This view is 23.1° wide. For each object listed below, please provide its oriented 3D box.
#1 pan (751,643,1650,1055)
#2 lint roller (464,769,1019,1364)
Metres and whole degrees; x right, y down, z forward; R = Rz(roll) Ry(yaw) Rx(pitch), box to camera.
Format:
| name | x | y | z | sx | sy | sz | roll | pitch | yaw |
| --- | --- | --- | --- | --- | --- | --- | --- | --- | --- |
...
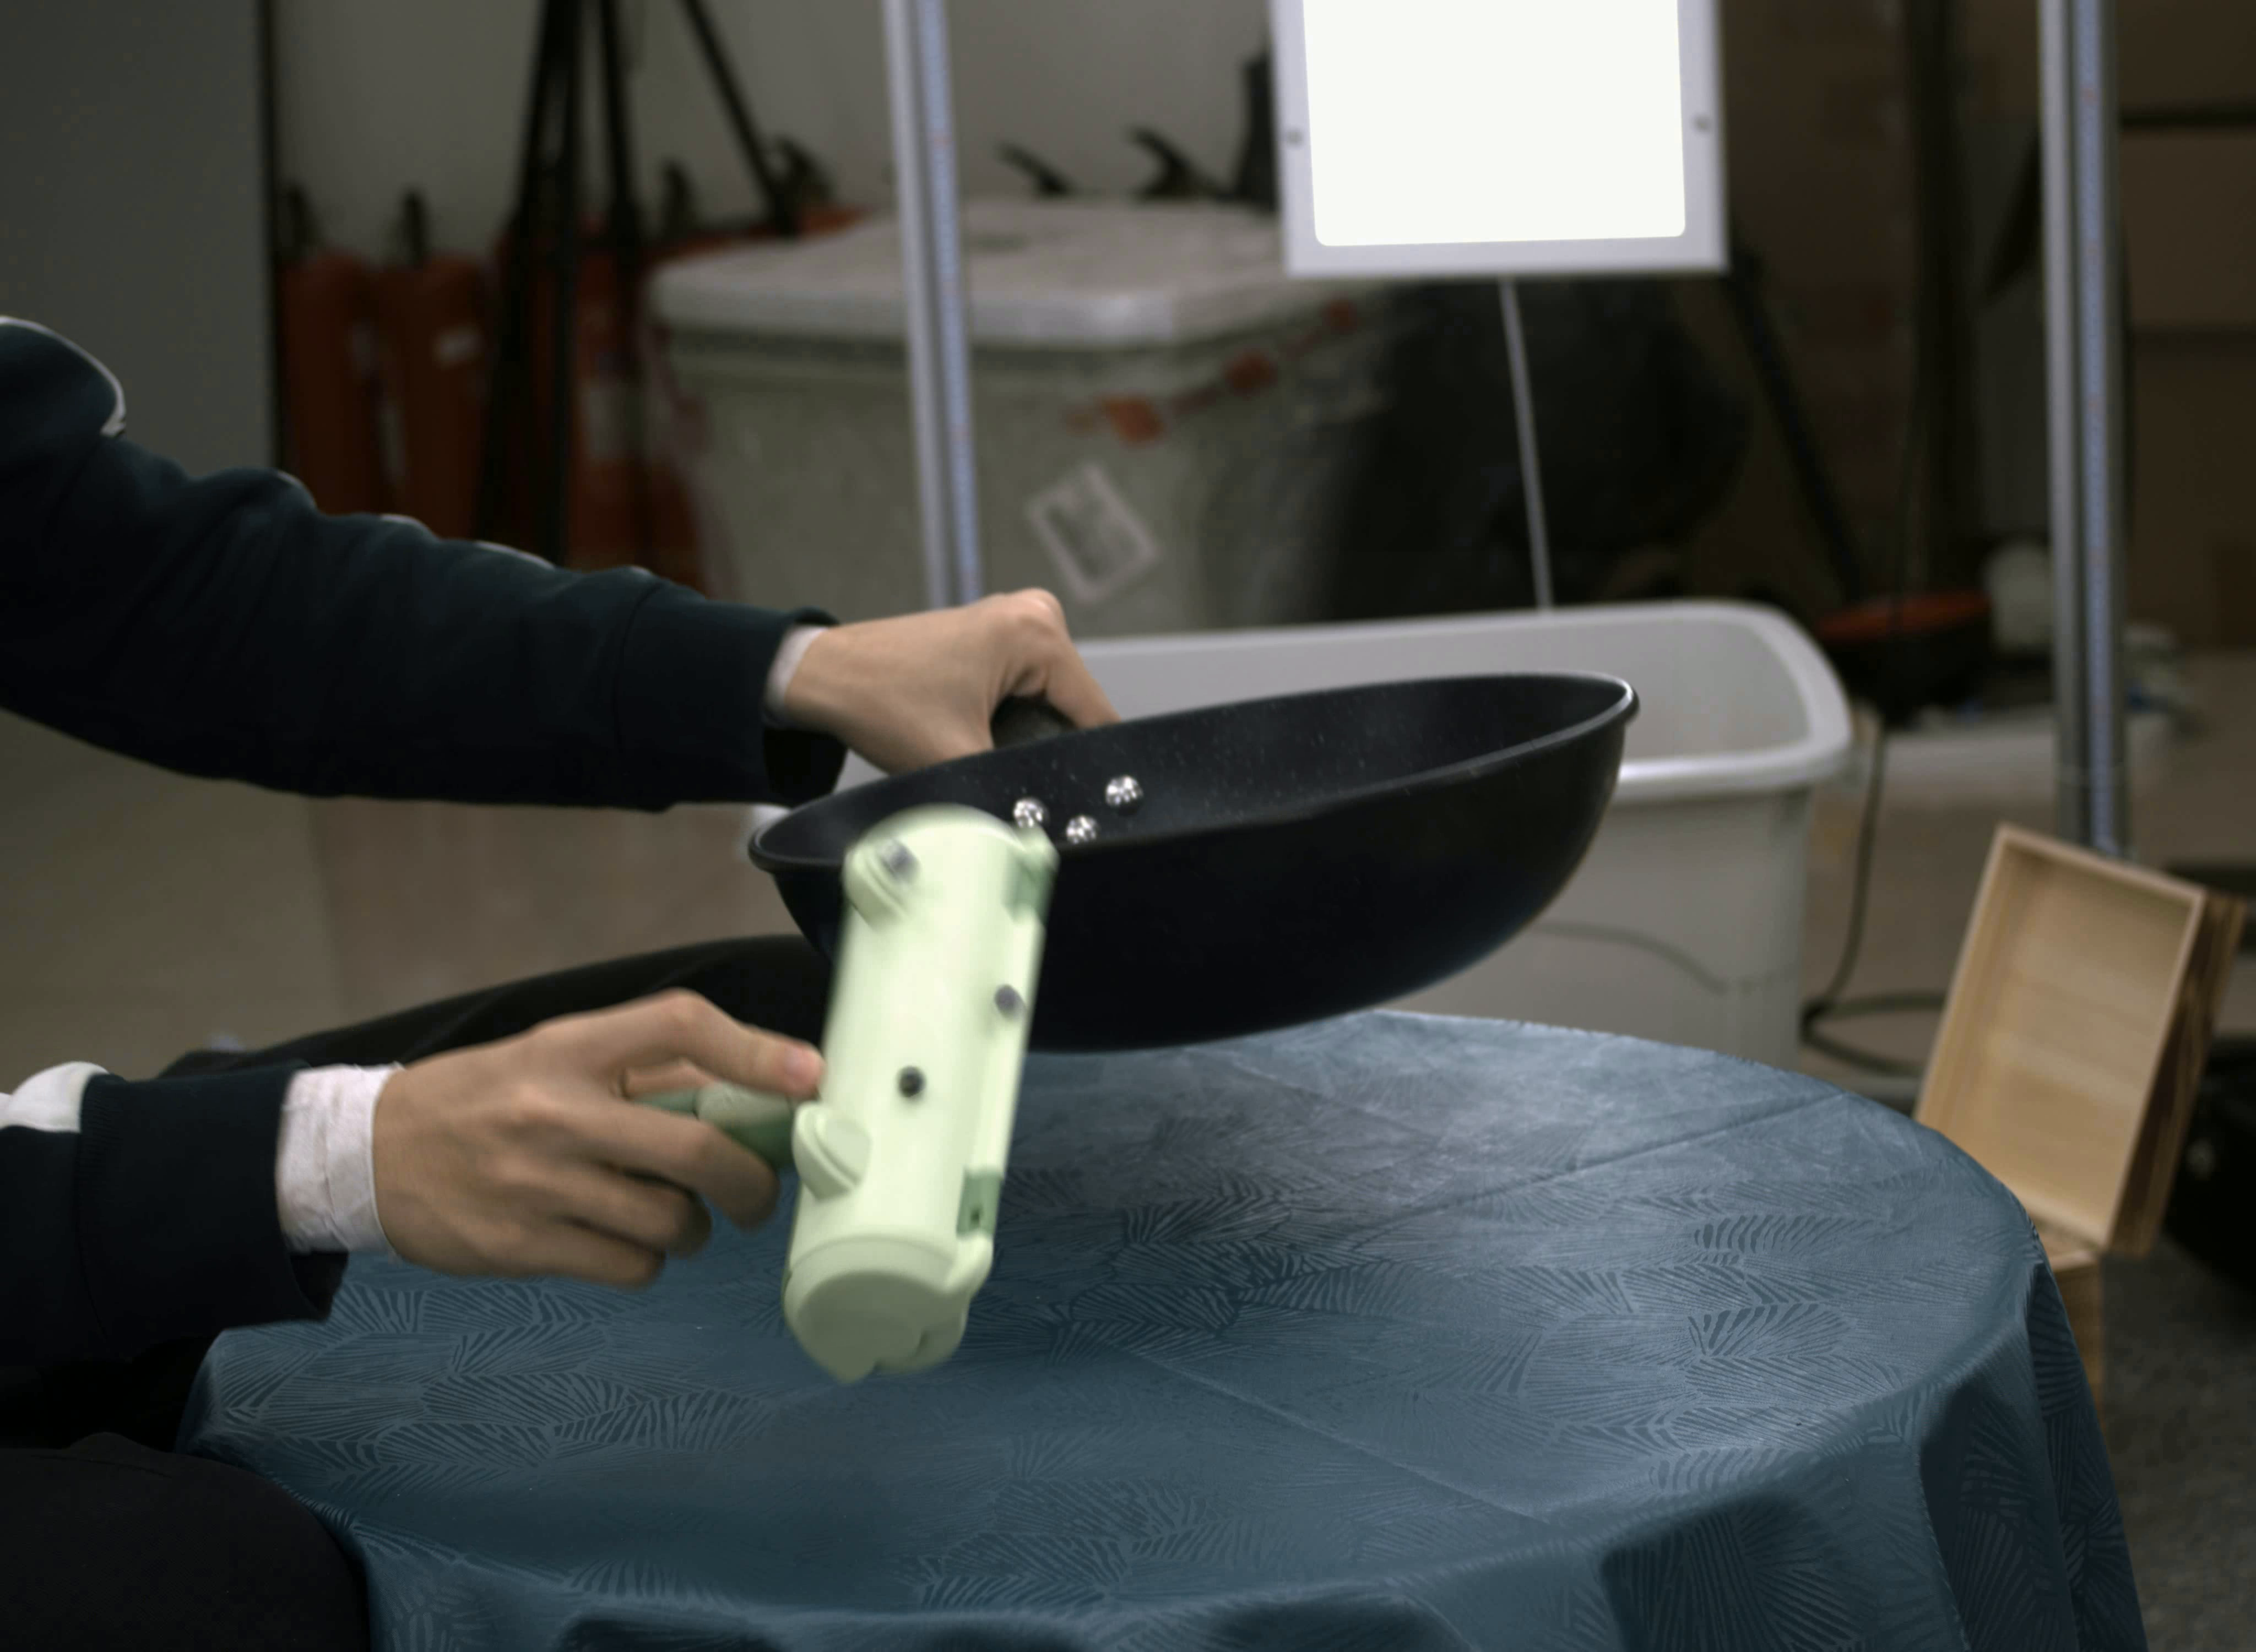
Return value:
| name | x | y | z | sx | sy | sz | roll | pitch | yaw |
| --- | --- | --- | --- | --- | --- | --- | --- | --- | --- |
| pan | 0.002 | 0.001 | 1.952 | 0.305 | 0.112 | 0.483 | -12 | 8 | -16 |
| lint roller | -0.123 | 0.072 | 1.632 | 0.185 | 0.082 | 0.197 | -11 | 44 | 15 |
